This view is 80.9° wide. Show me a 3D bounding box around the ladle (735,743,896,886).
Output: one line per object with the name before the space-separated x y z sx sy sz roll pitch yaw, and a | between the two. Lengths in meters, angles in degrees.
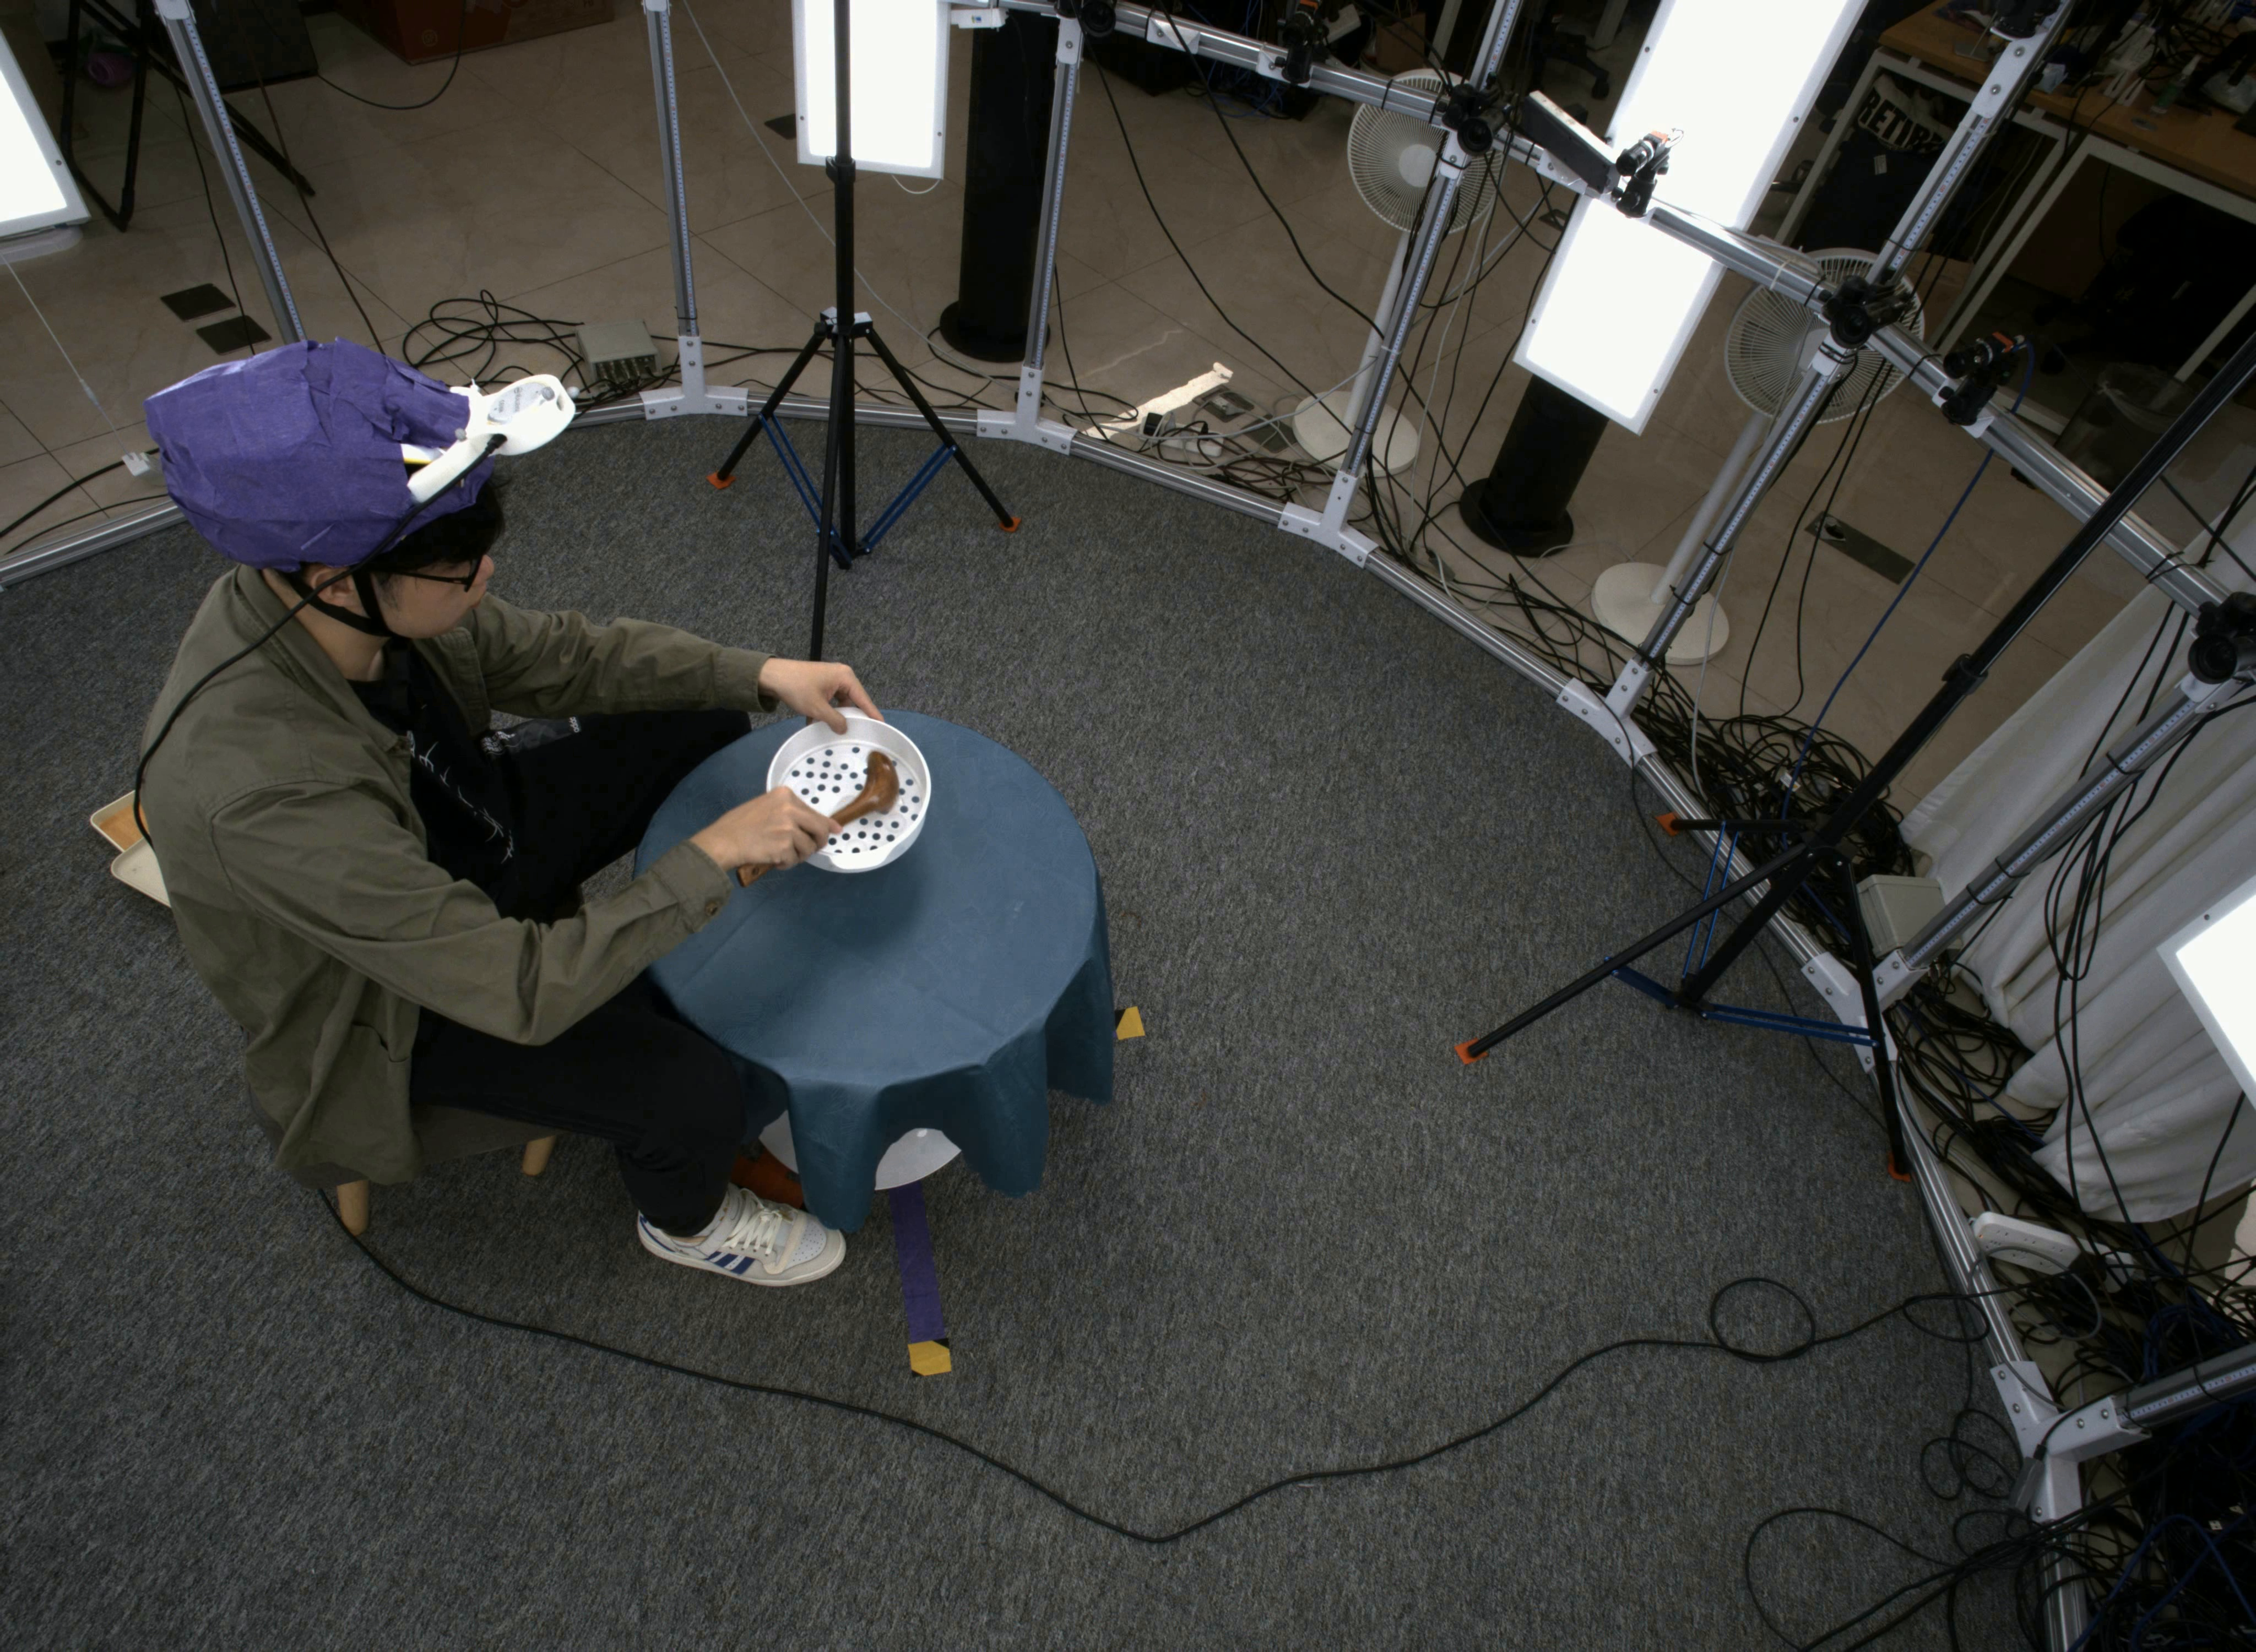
ladle | -0.379 -0.015 1.552 0.074 0.085 0.274 11 35 38

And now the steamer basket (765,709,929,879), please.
steamer basket | -0.353 -0.034 1.639 0.202 0.070 0.227 -6 66 -16
